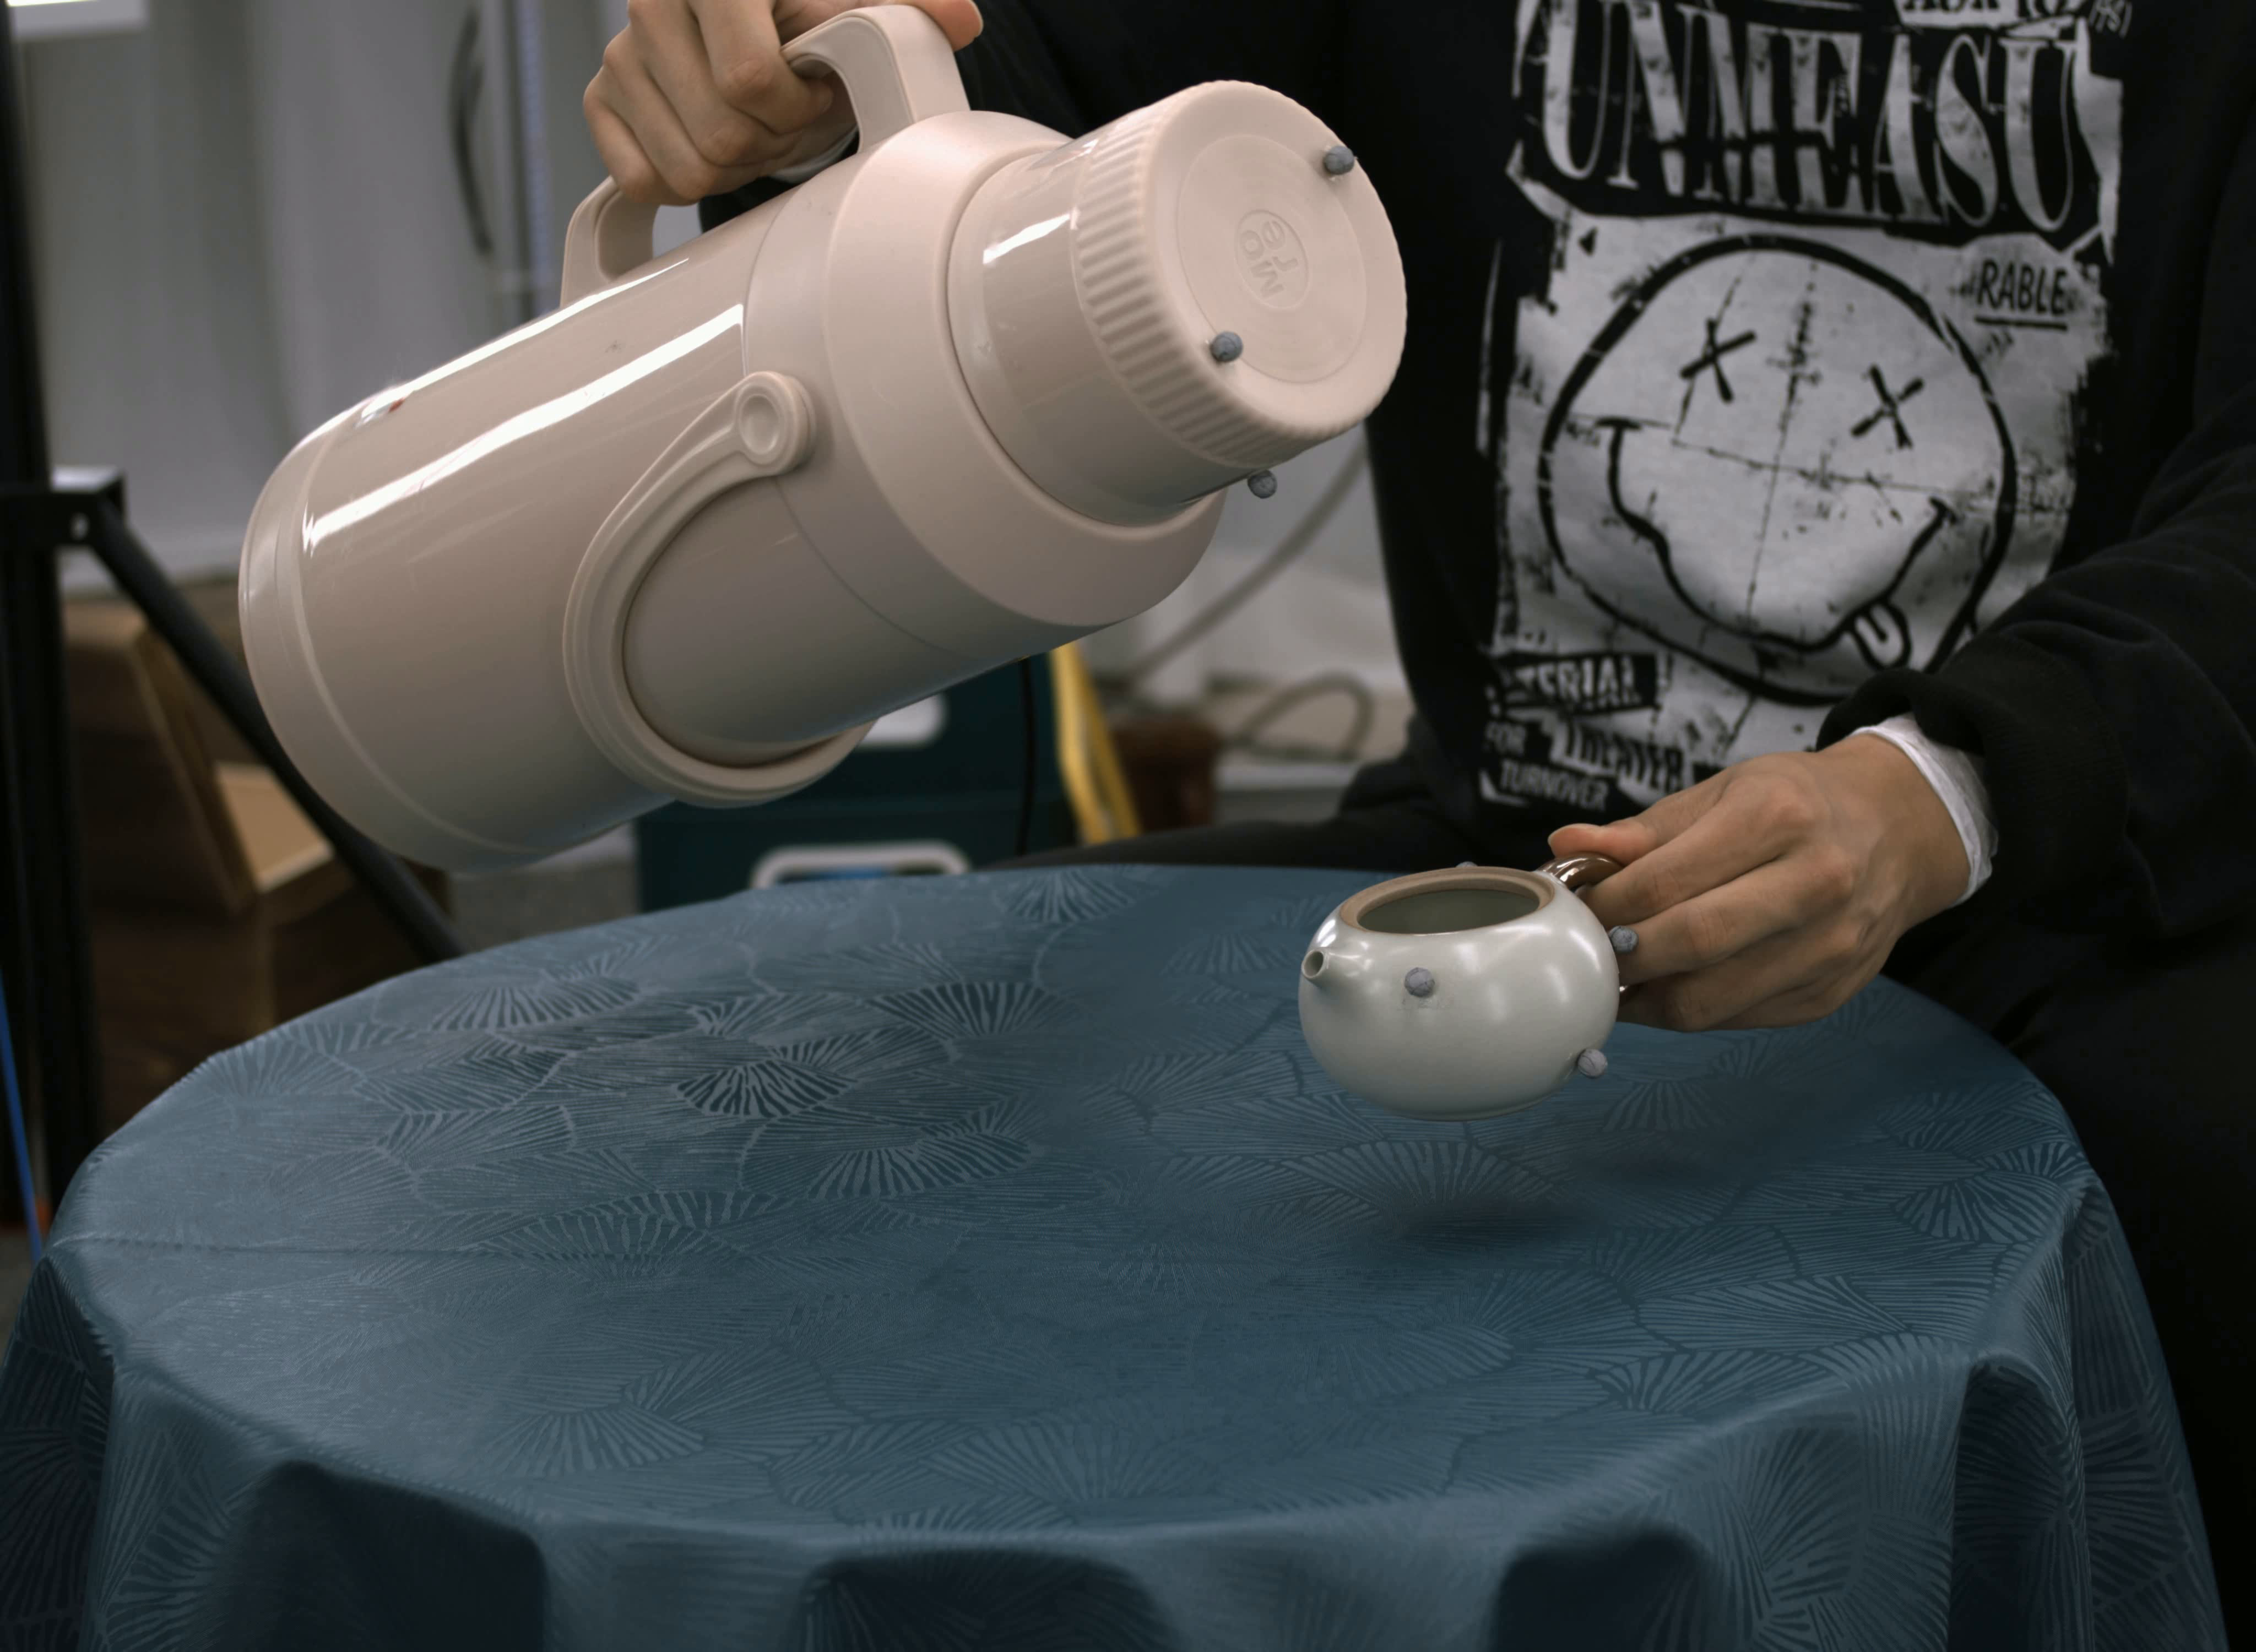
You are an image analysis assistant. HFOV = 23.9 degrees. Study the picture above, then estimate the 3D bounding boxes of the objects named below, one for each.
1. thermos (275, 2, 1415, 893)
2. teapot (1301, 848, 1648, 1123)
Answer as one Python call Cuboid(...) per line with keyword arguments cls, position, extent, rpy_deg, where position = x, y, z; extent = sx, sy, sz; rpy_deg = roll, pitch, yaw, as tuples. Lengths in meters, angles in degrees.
Cuboid(cls="thermos", position=(-0.091, -0.120, 1.610), extent=(0.171, 0.208, 0.413), rpy_deg=(-14, -6, -42))
Cuboid(cls="teapot", position=(0.102, 0.045, 1.508), extent=(0.125, 0.059, 0.094), rpy_deg=(-21, 18, -36))
